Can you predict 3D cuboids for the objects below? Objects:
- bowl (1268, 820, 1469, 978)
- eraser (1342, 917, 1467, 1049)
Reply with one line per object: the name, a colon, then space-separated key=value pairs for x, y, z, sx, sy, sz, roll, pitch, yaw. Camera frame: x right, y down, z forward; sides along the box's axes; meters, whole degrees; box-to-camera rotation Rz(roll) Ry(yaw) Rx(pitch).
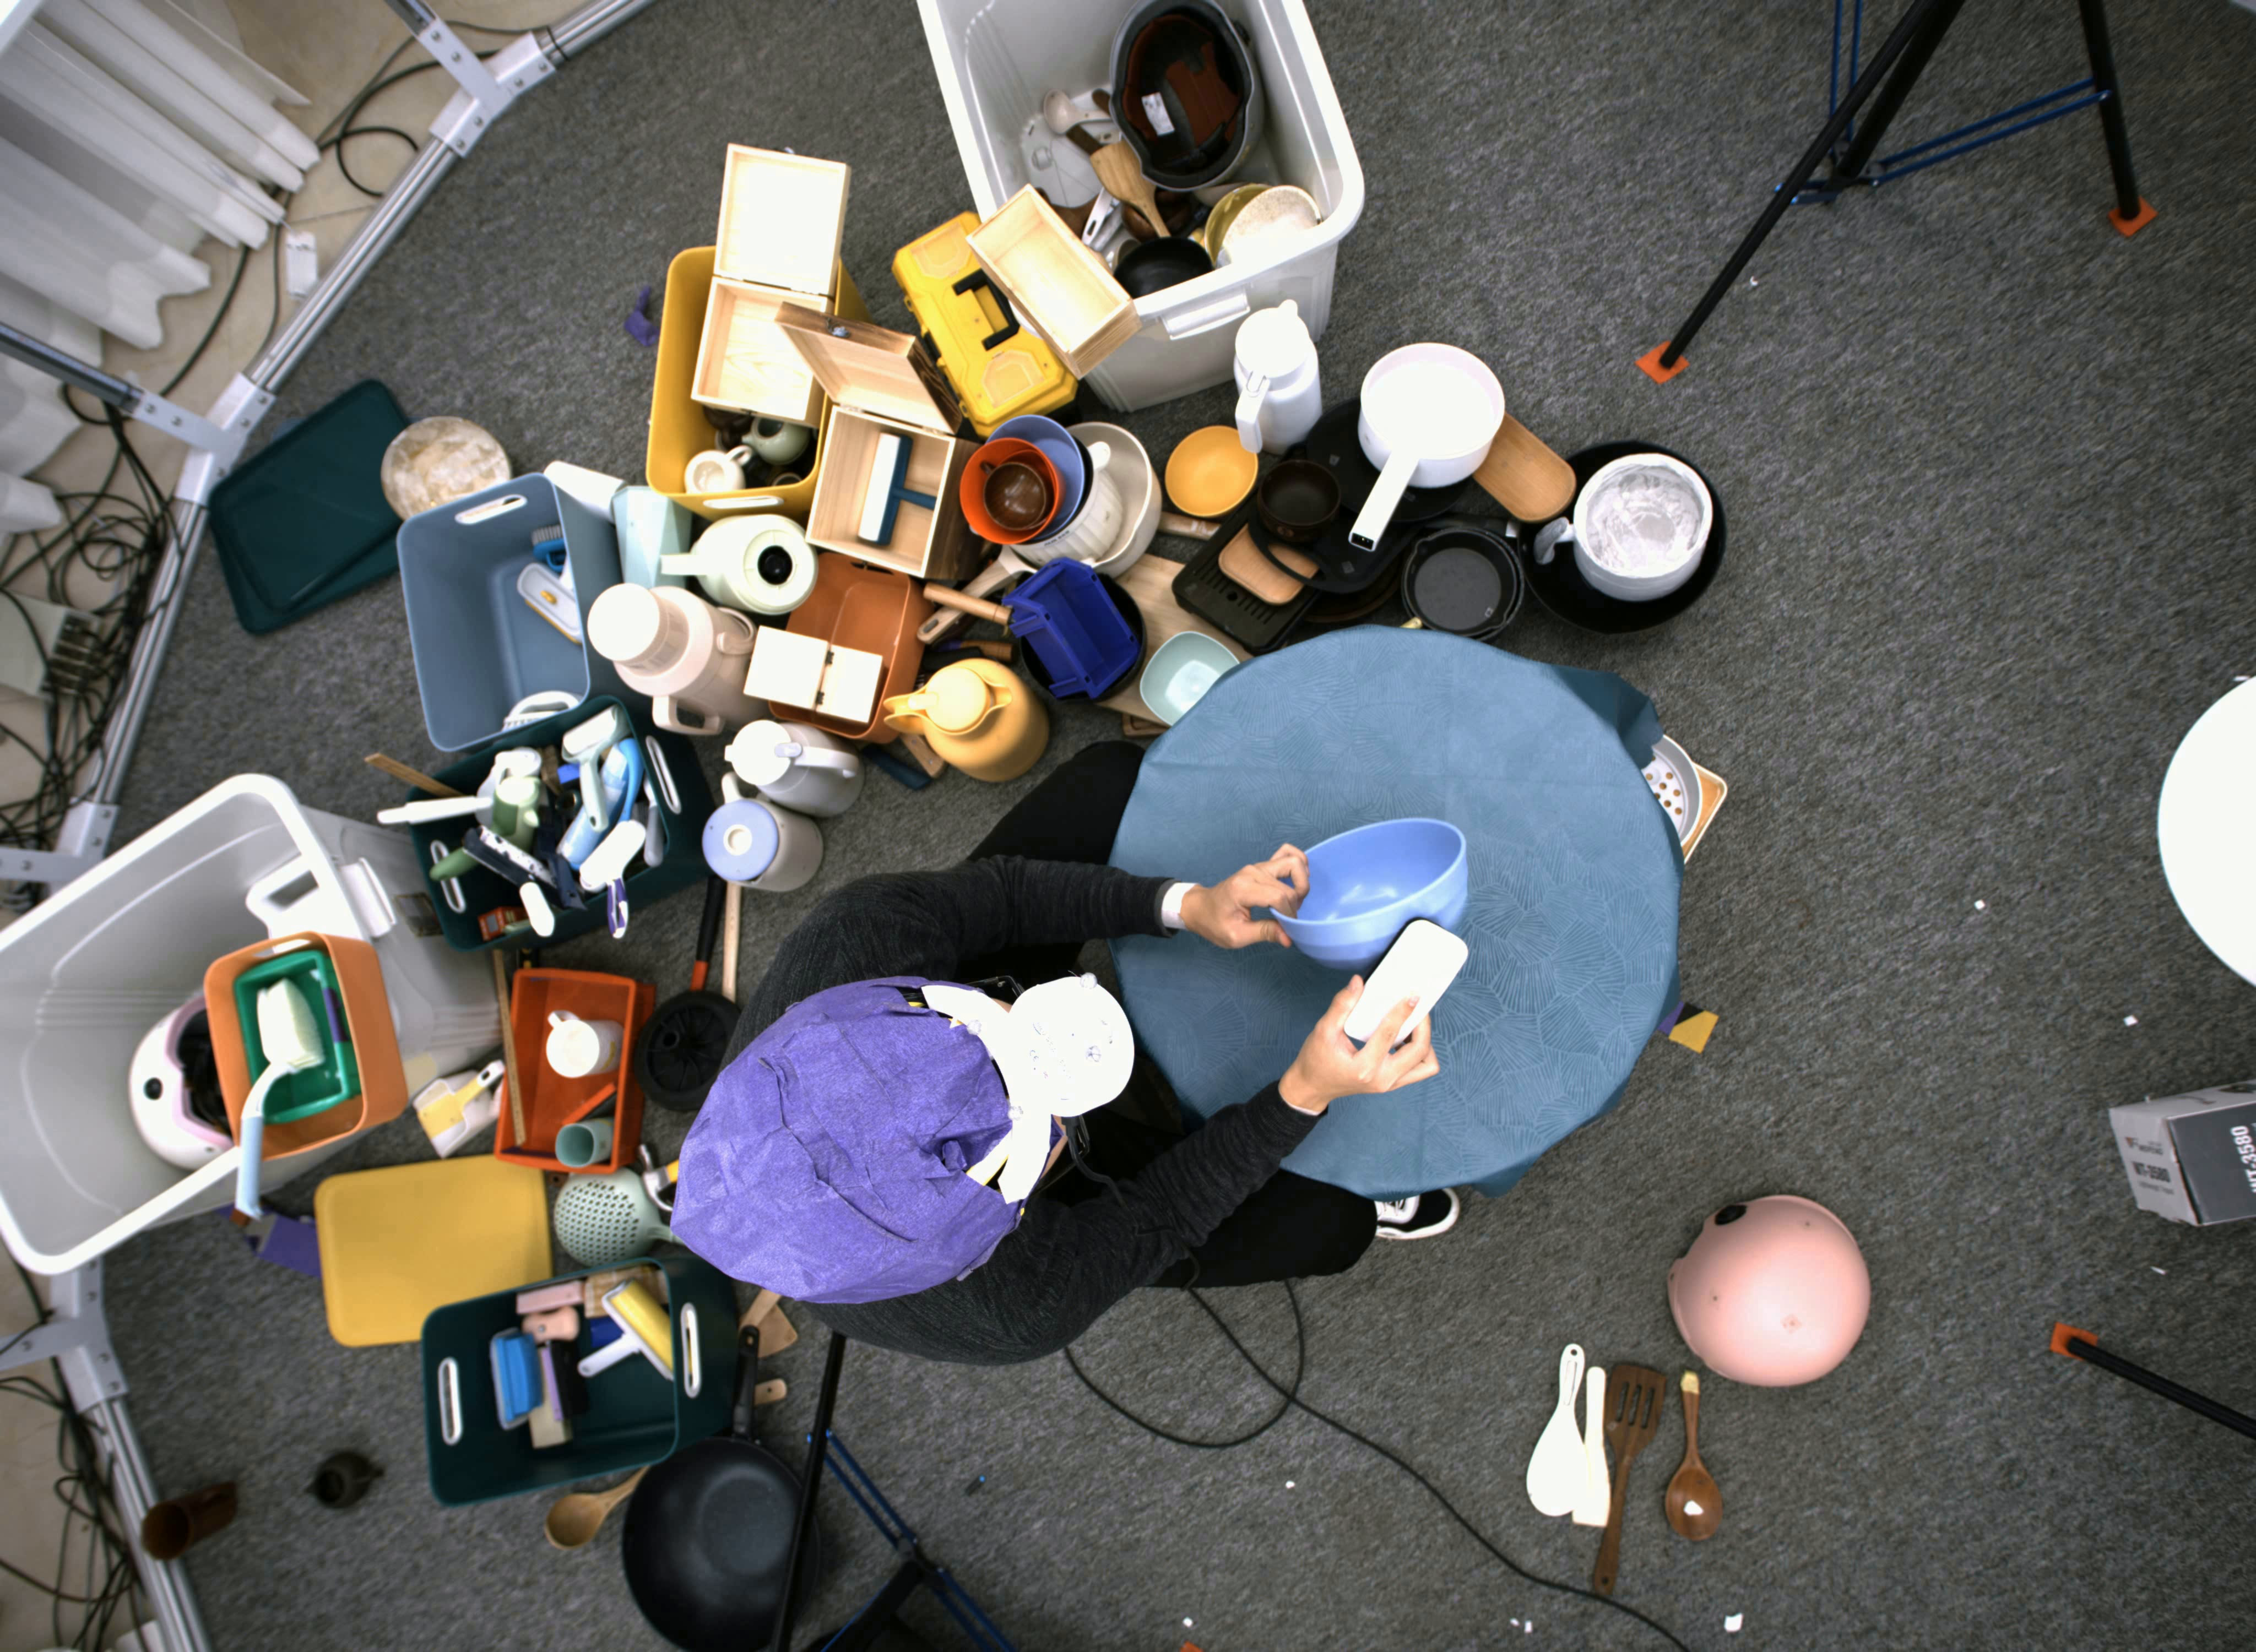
bowl: x=0.242 y=0.082 z=1.331 sx=0.197 sy=0.192 sz=0.097 roll=-19 pitch=111 yaw=8
eraser: x=0.248 y=0.142 z=1.251 sx=0.063 sy=0.034 sz=0.134 roll=24 pitch=115 yaw=-18
